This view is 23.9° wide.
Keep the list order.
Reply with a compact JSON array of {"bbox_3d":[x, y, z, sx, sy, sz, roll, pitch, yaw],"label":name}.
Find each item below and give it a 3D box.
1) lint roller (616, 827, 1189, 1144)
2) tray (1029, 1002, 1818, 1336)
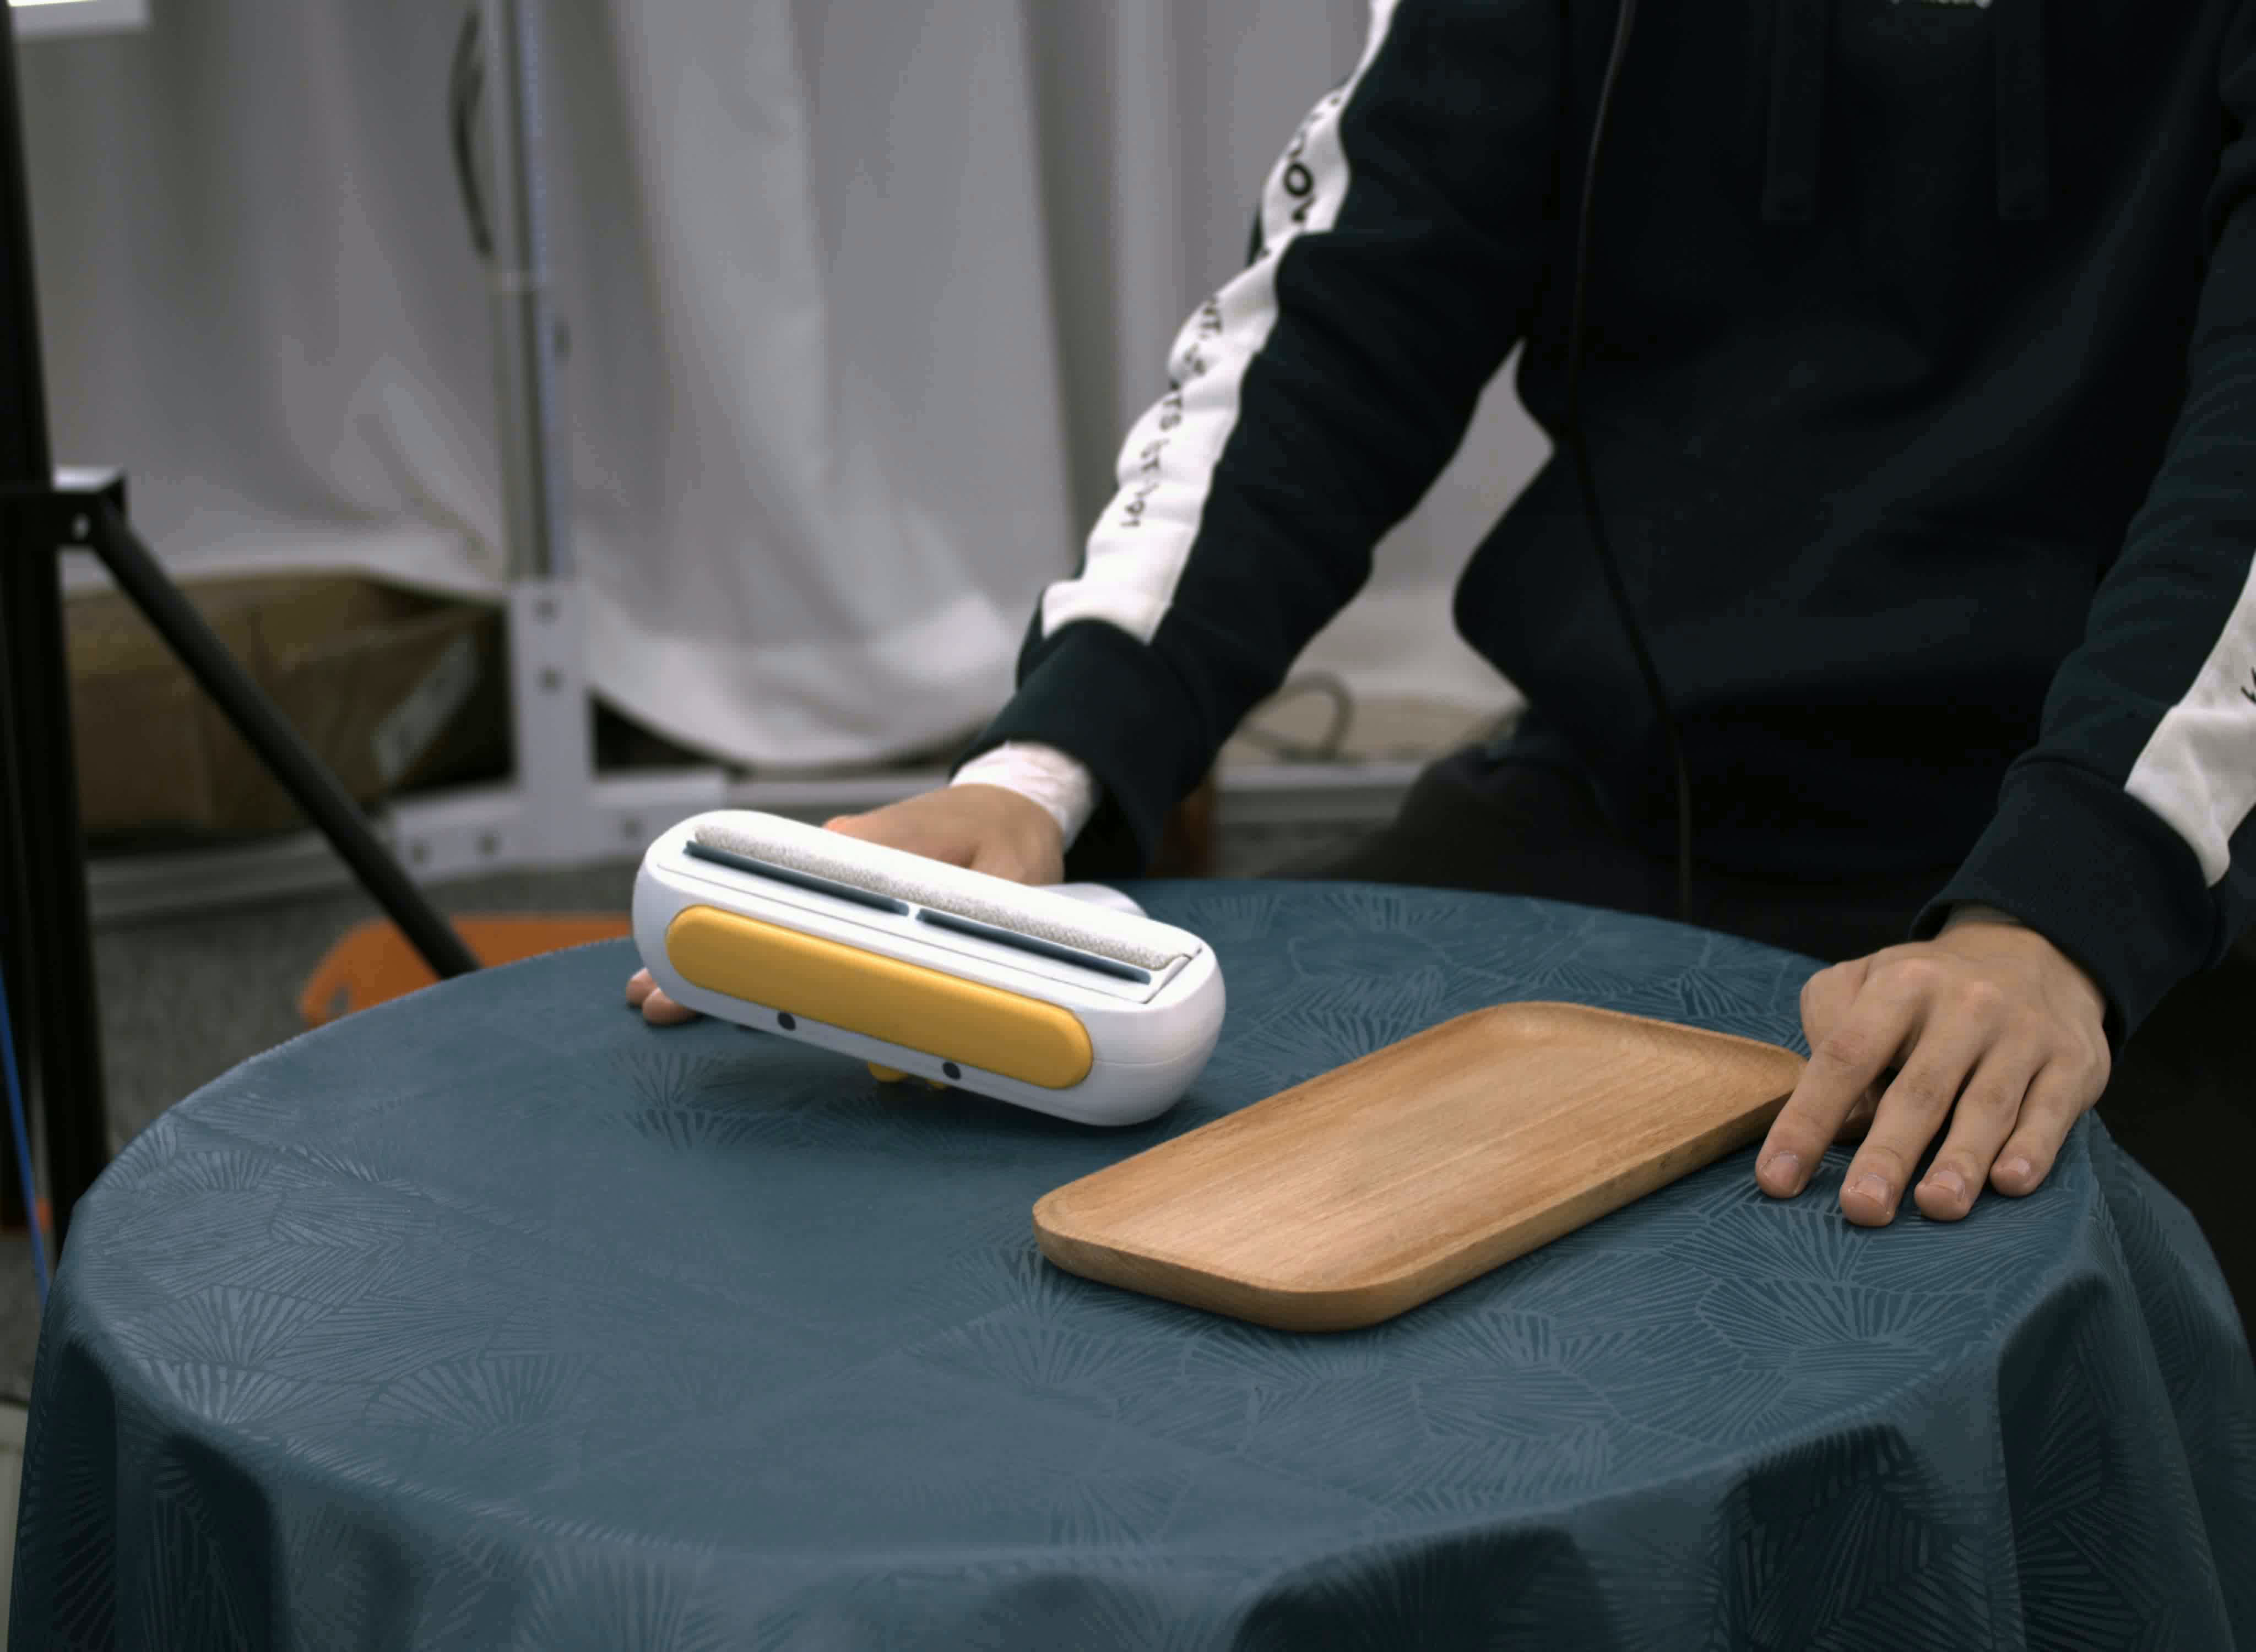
[{"bbox_3d":[-0.045,0.054,1.701,0.196,0.074,0.188,14,7,28],"label":"lint roller"},{"bbox_3d":[0.090,0.098,1.549,0.133,0.023,0.245,14,22,40],"label":"tray"}]
